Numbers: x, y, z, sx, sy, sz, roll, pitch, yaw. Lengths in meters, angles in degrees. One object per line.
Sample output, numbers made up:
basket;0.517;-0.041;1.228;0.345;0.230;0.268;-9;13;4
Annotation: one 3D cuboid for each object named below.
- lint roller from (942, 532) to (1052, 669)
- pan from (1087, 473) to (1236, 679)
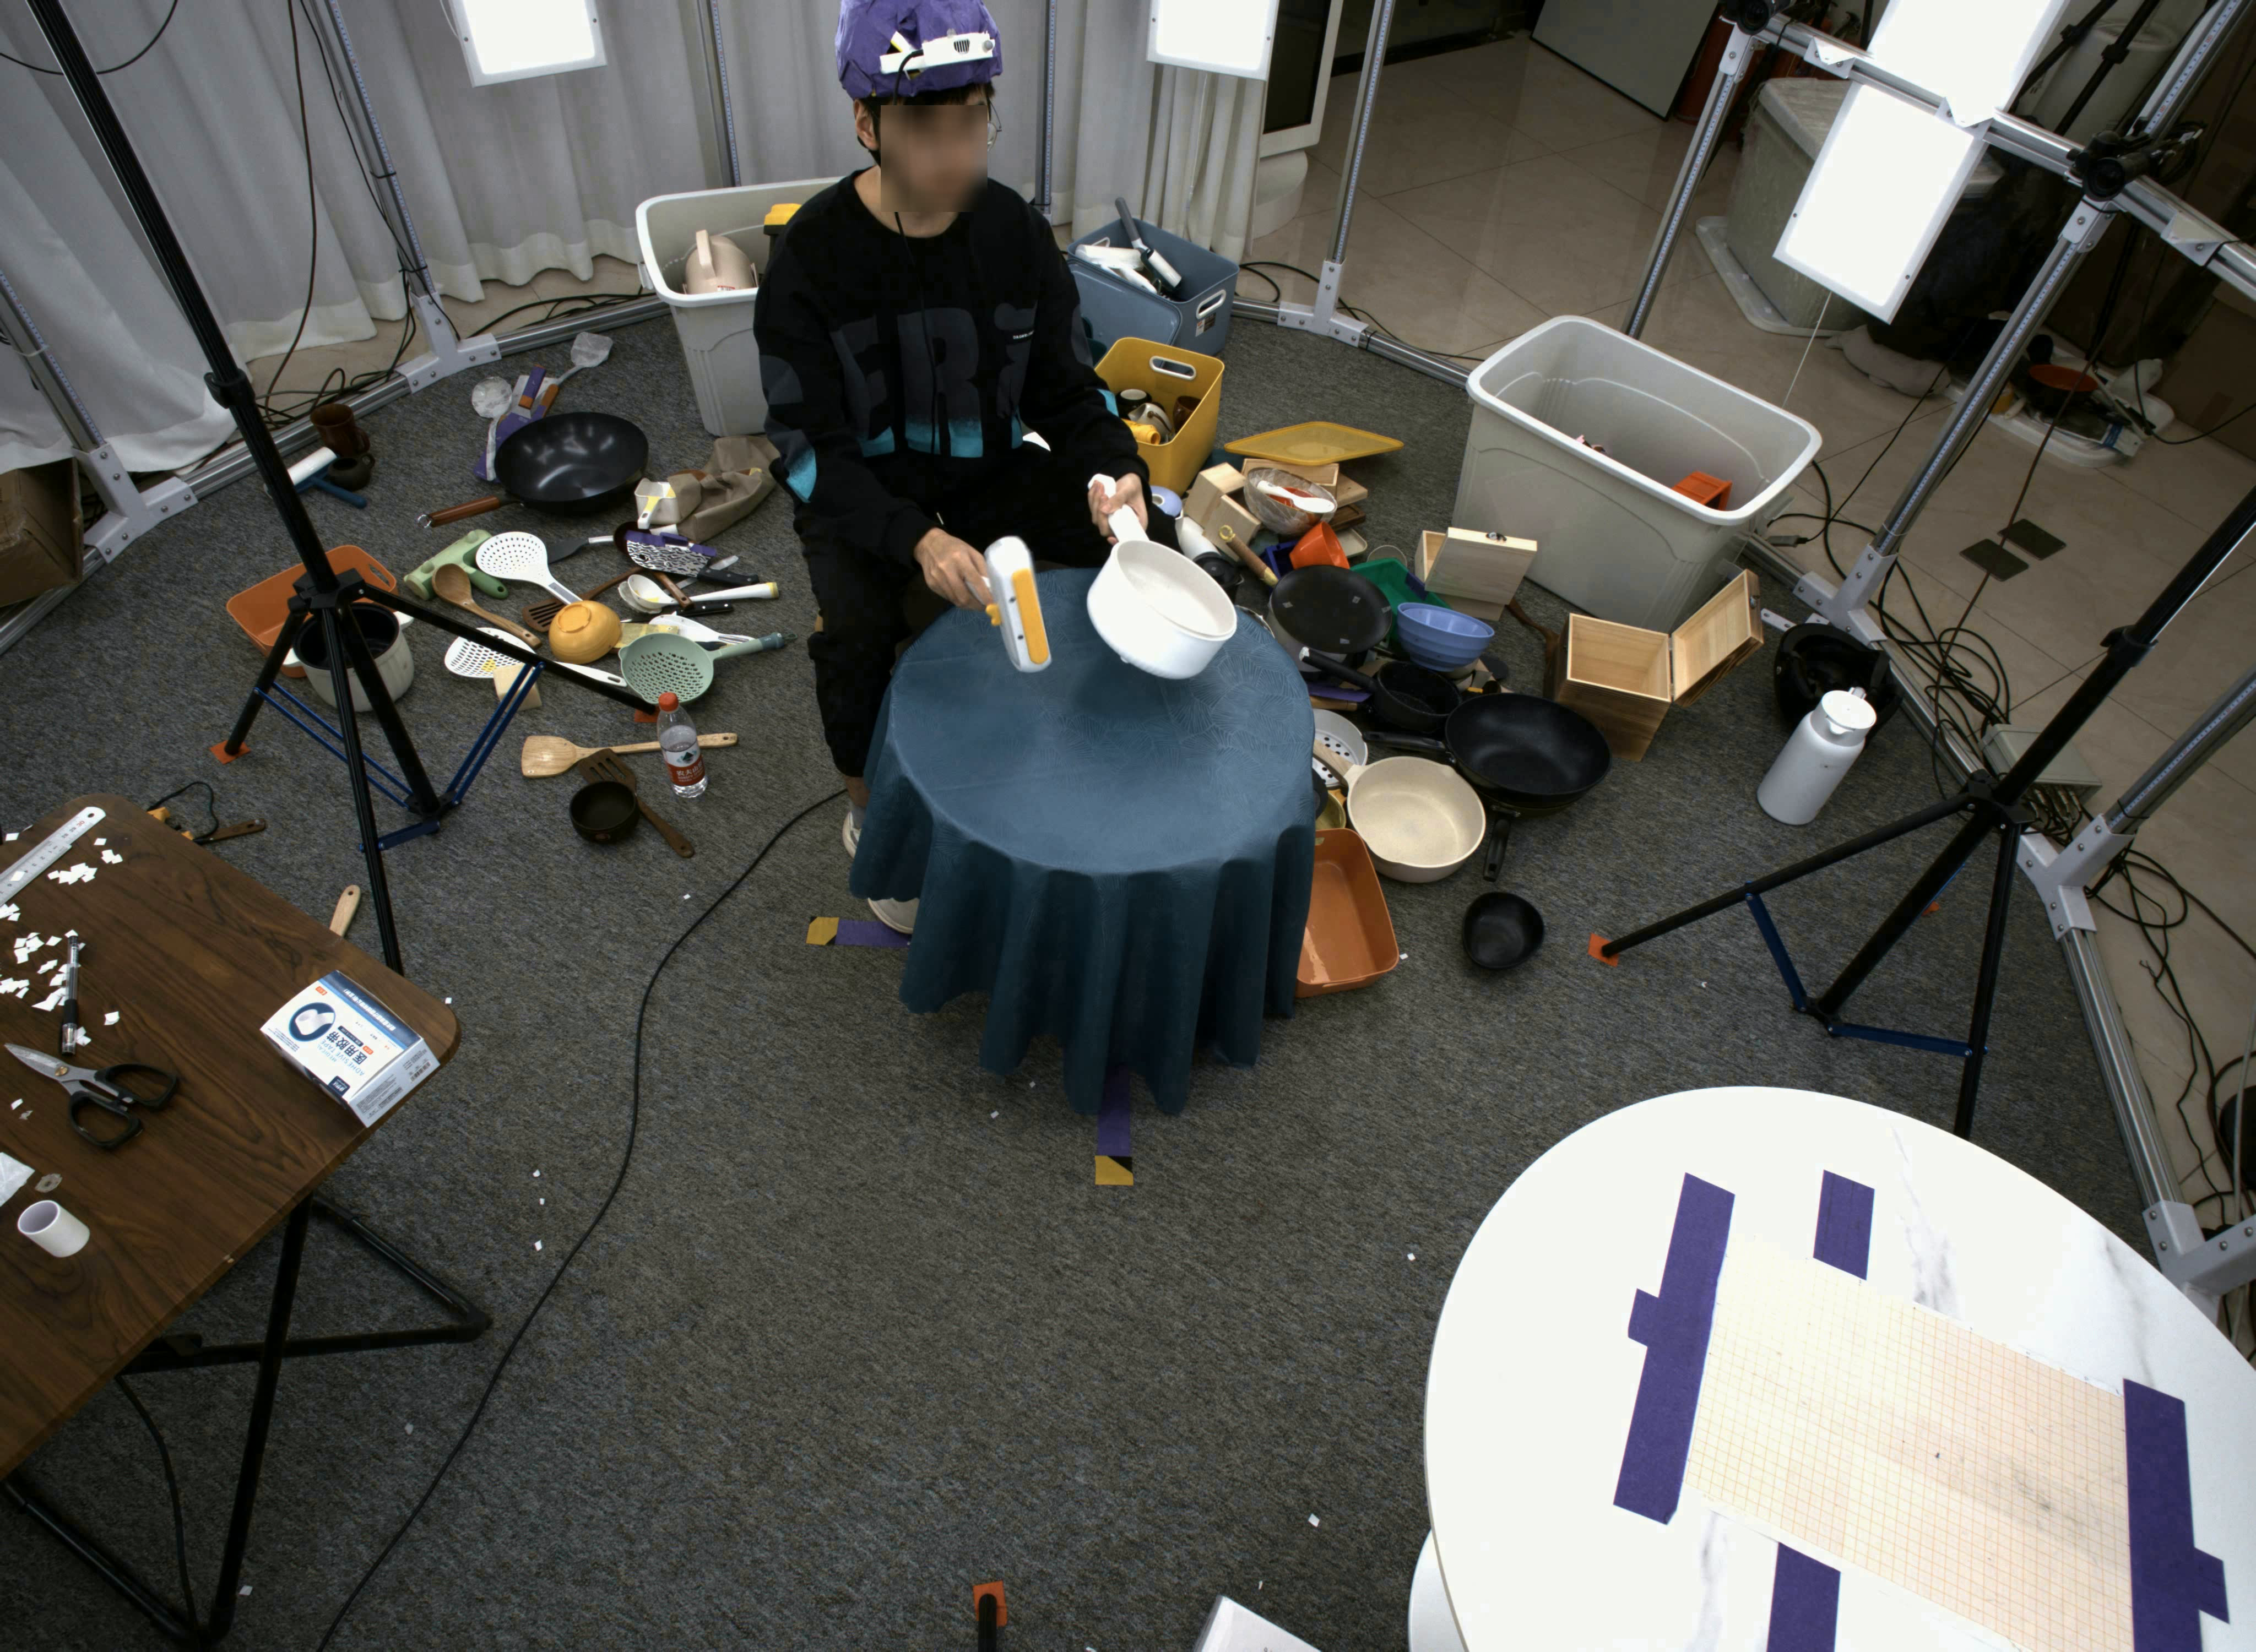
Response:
lint roller;-0.185;-0.315;1.738;0.074;0.188;0.196;-34;40;-14
pan;0.012;-0.353;1.820;0.200;0.100;0.363;5;45;-38
